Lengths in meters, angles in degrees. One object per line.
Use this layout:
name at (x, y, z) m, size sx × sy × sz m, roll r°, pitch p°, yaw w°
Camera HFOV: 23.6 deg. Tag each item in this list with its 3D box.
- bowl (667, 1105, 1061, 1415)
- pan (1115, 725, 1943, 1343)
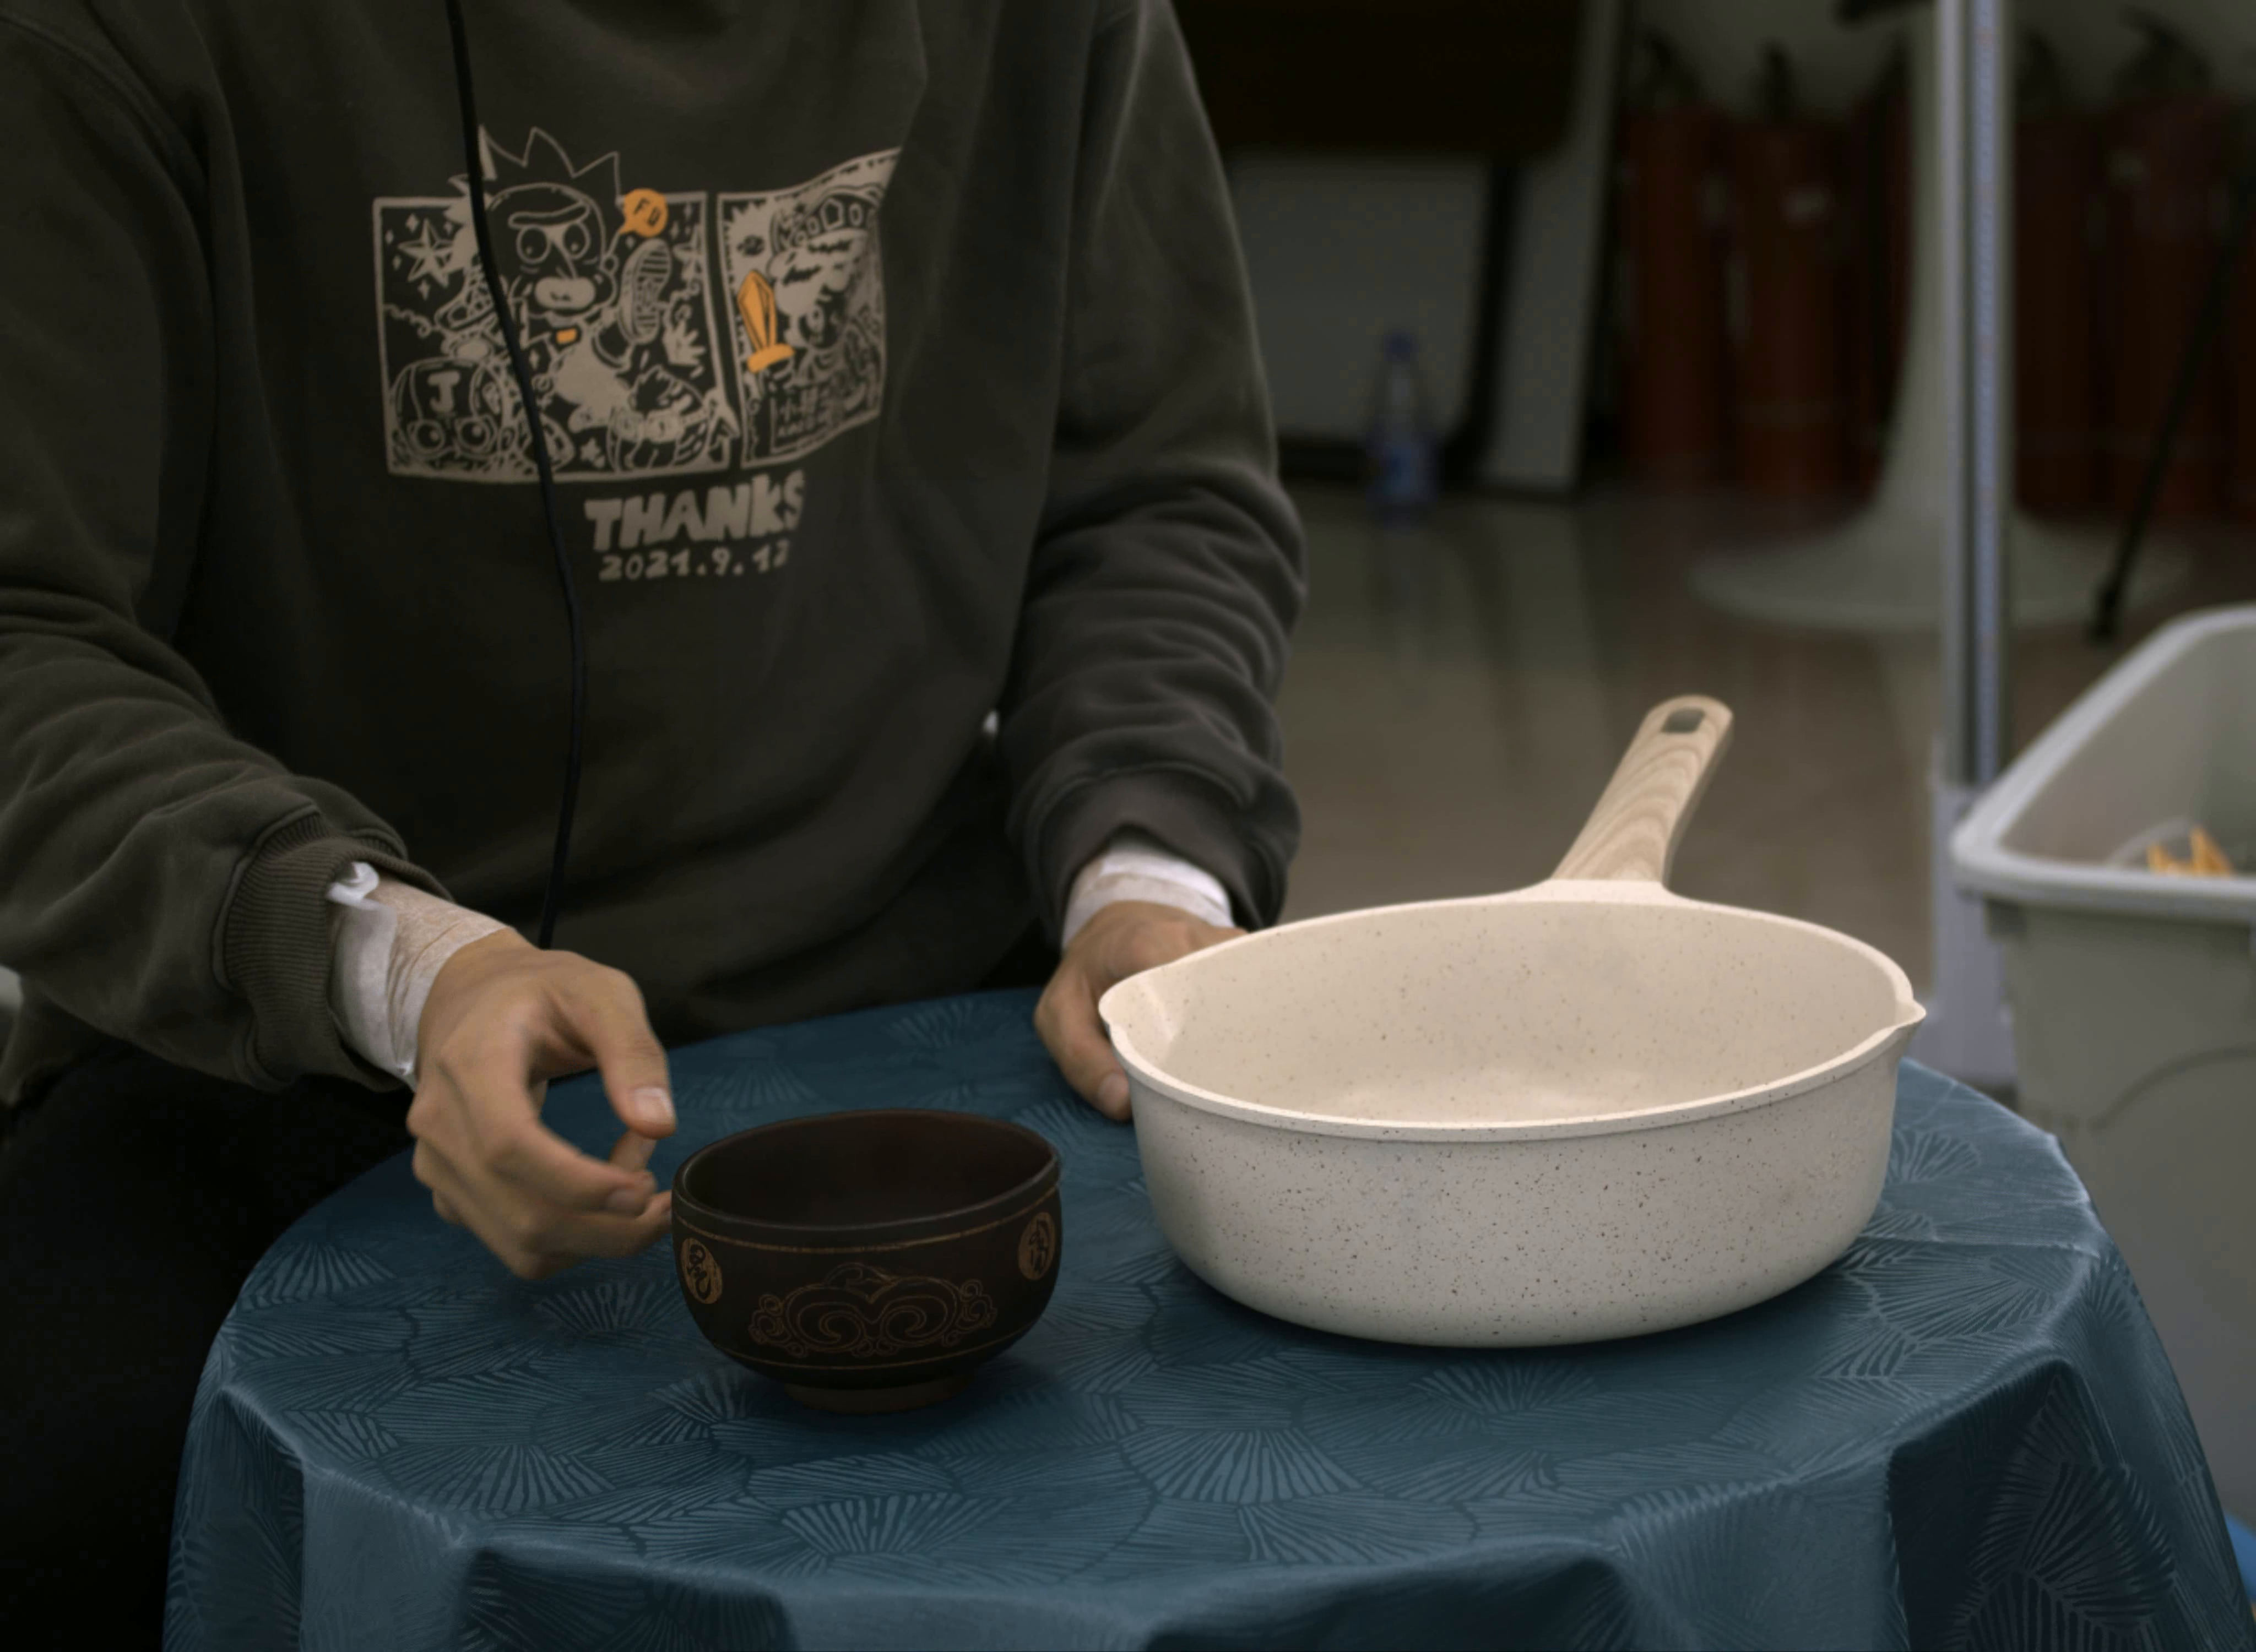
bowl at (-0.076, 0.132, 1.601) m, size 0.116 × 0.070 × 0.118 m, roll -6°, pitch 13°, yaw 0°
pan at (0.151, 0.064, 1.760) m, size 0.262 × 0.103 × 0.431 m, roll -2°, pitch 13°, yaw 18°
